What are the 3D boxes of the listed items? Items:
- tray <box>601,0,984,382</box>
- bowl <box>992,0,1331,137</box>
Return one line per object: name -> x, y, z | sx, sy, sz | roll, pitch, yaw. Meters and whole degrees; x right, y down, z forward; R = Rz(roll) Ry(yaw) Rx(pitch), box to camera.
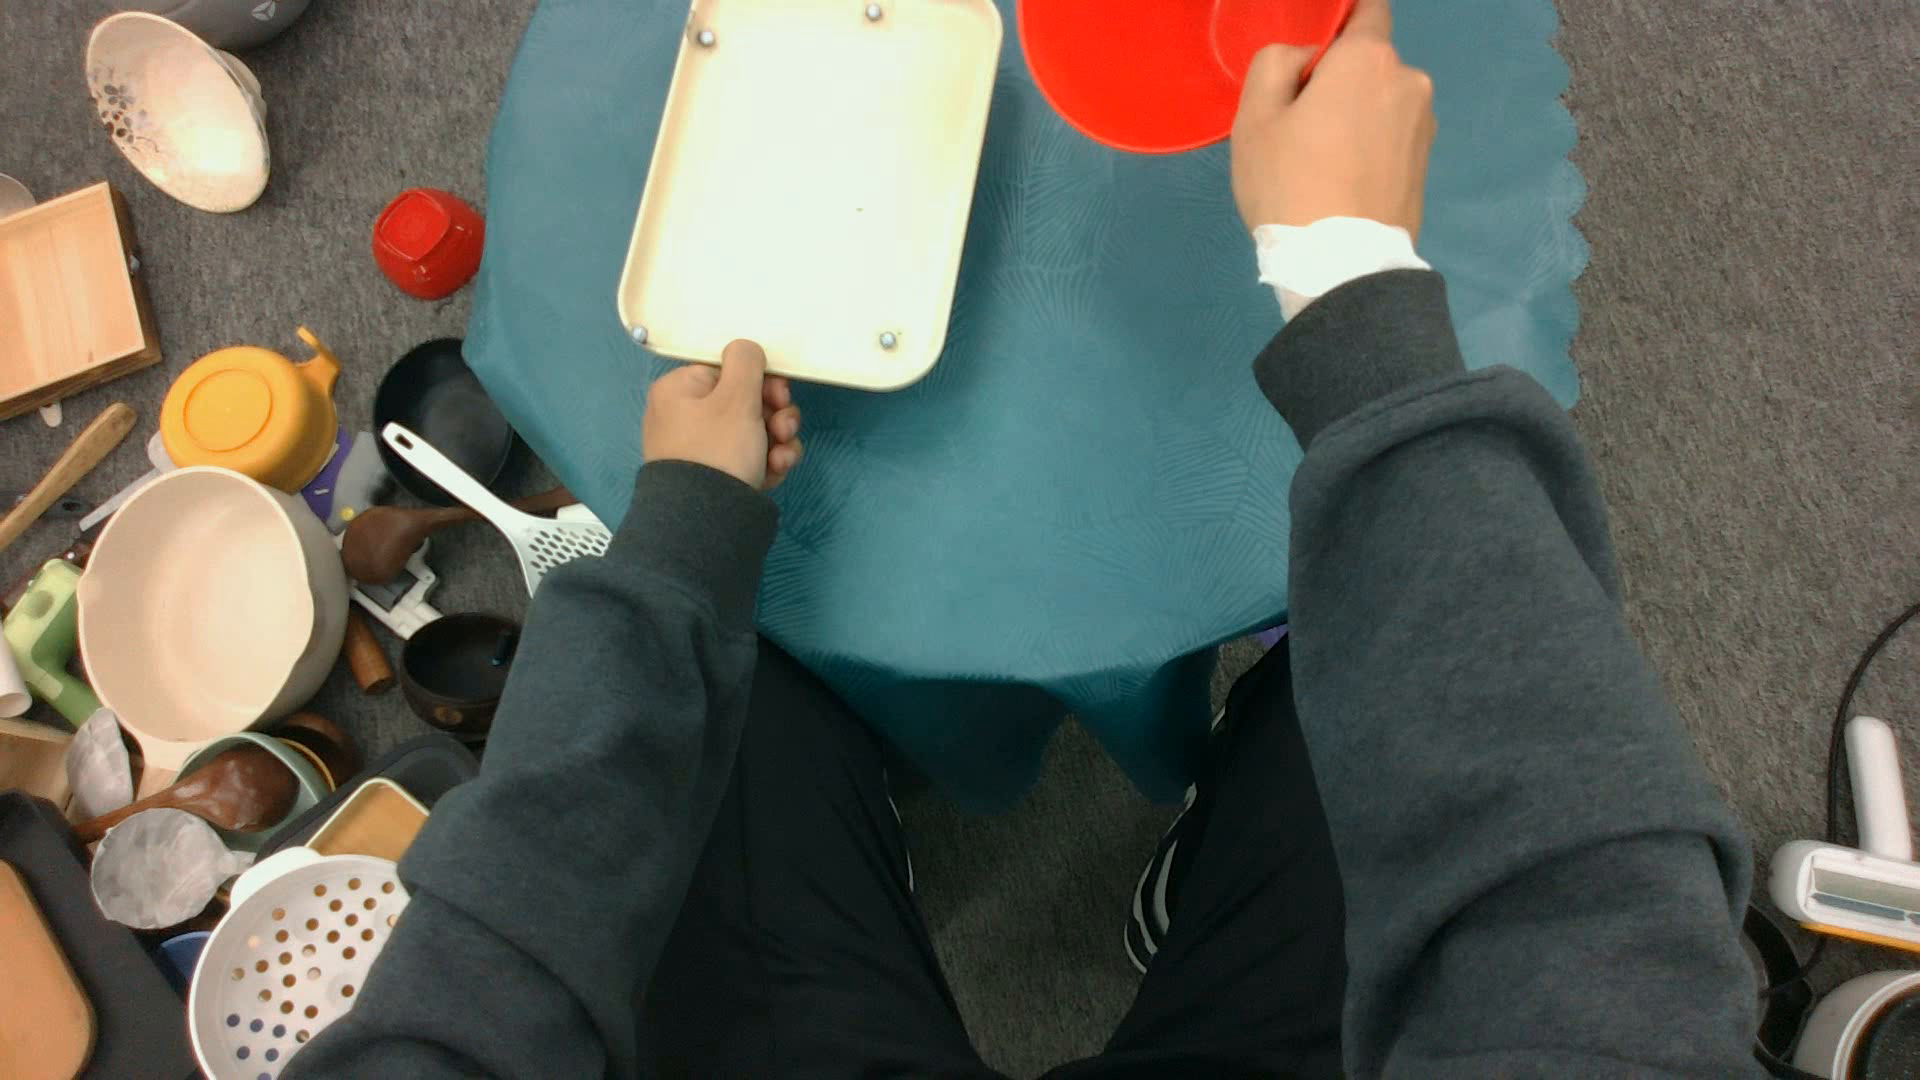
tray -> -0.085, -0.201, 0.729 | 0.171, 0.017, 0.240 | 9, 75, 2
bowl -> 0.104, -0.255, 0.629 | 0.147, 0.105, 0.148 | 5, 99, 36
